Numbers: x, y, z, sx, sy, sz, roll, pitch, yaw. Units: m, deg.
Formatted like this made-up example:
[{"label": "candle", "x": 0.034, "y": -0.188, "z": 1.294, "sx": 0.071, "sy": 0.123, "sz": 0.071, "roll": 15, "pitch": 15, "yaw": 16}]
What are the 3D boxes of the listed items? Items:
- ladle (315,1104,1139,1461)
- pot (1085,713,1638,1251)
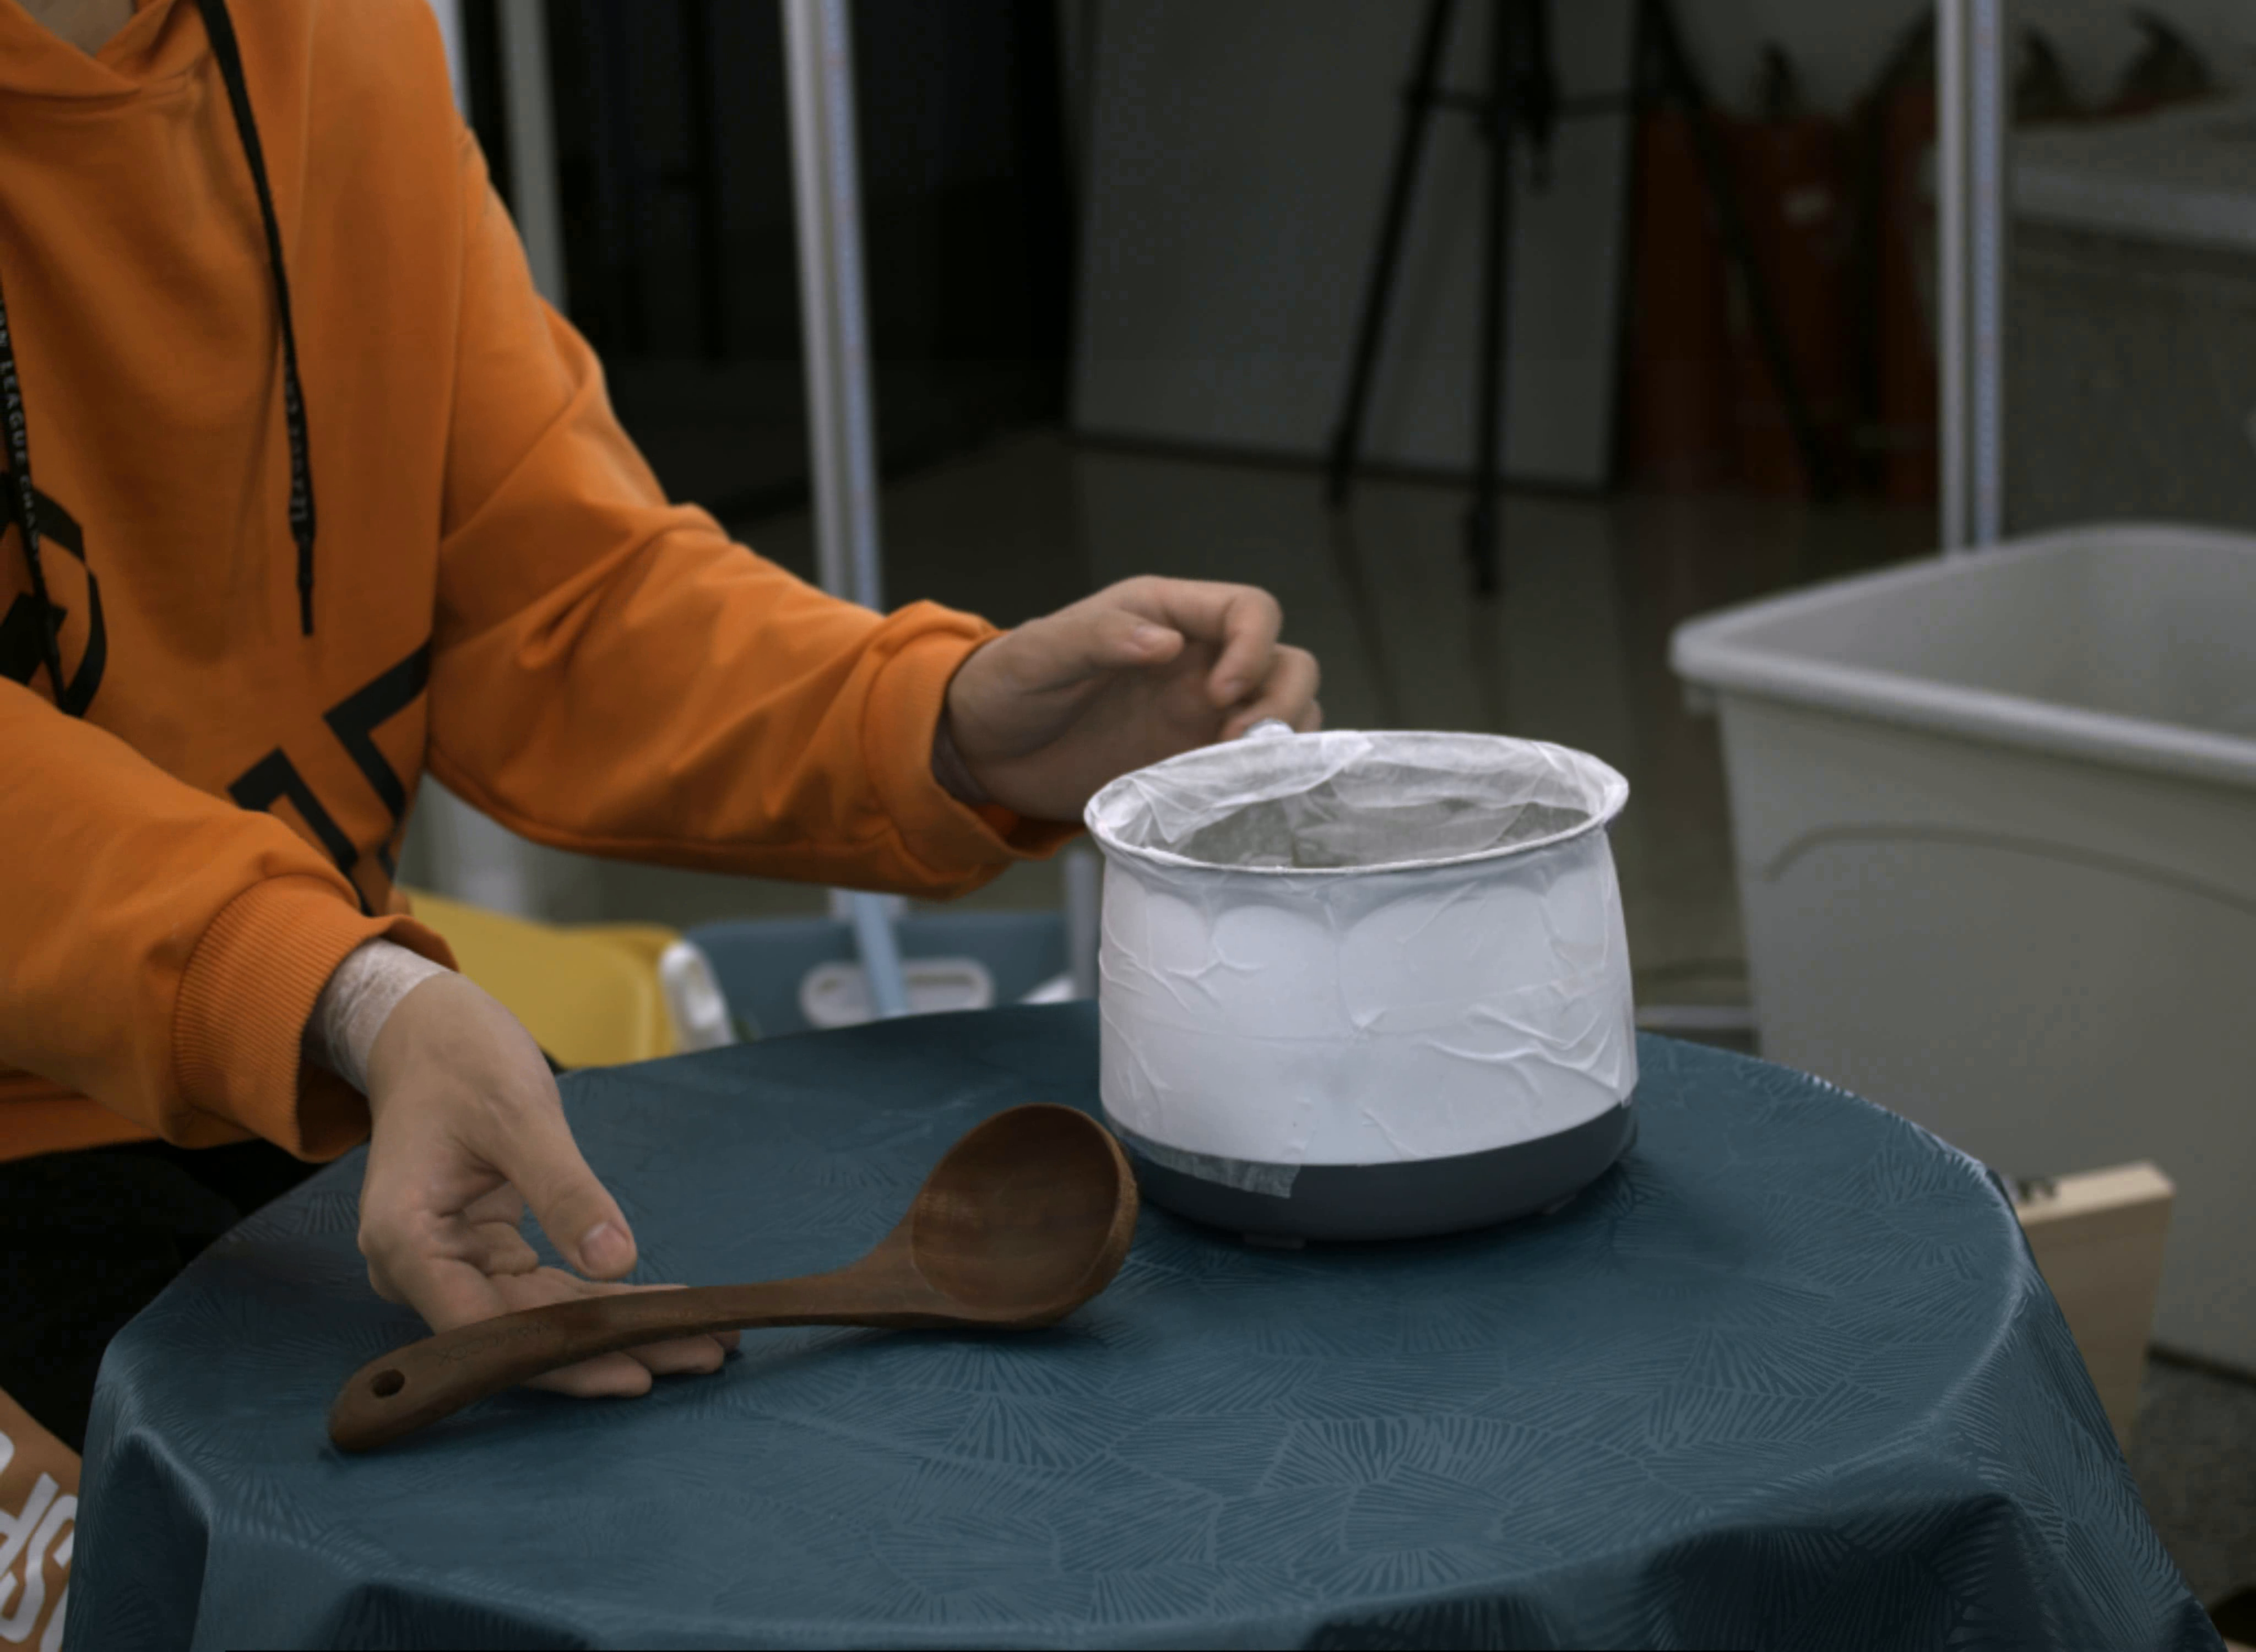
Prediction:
[{"label": "ladle", "x": -0.117, "y": 0.137, "z": 1.614, "sx": 0.254, "sy": 0.065, "sz": 0.077, "roll": -9, "pitch": 39, "yaw": -23}, {"label": "pot", "x": 0.069, "y": 0.045, "z": 1.771, "sx": 0.175, "sy": 0.138, "sz": 0.235, "roll": -7, "pitch": 14, "yaw": -14}]
